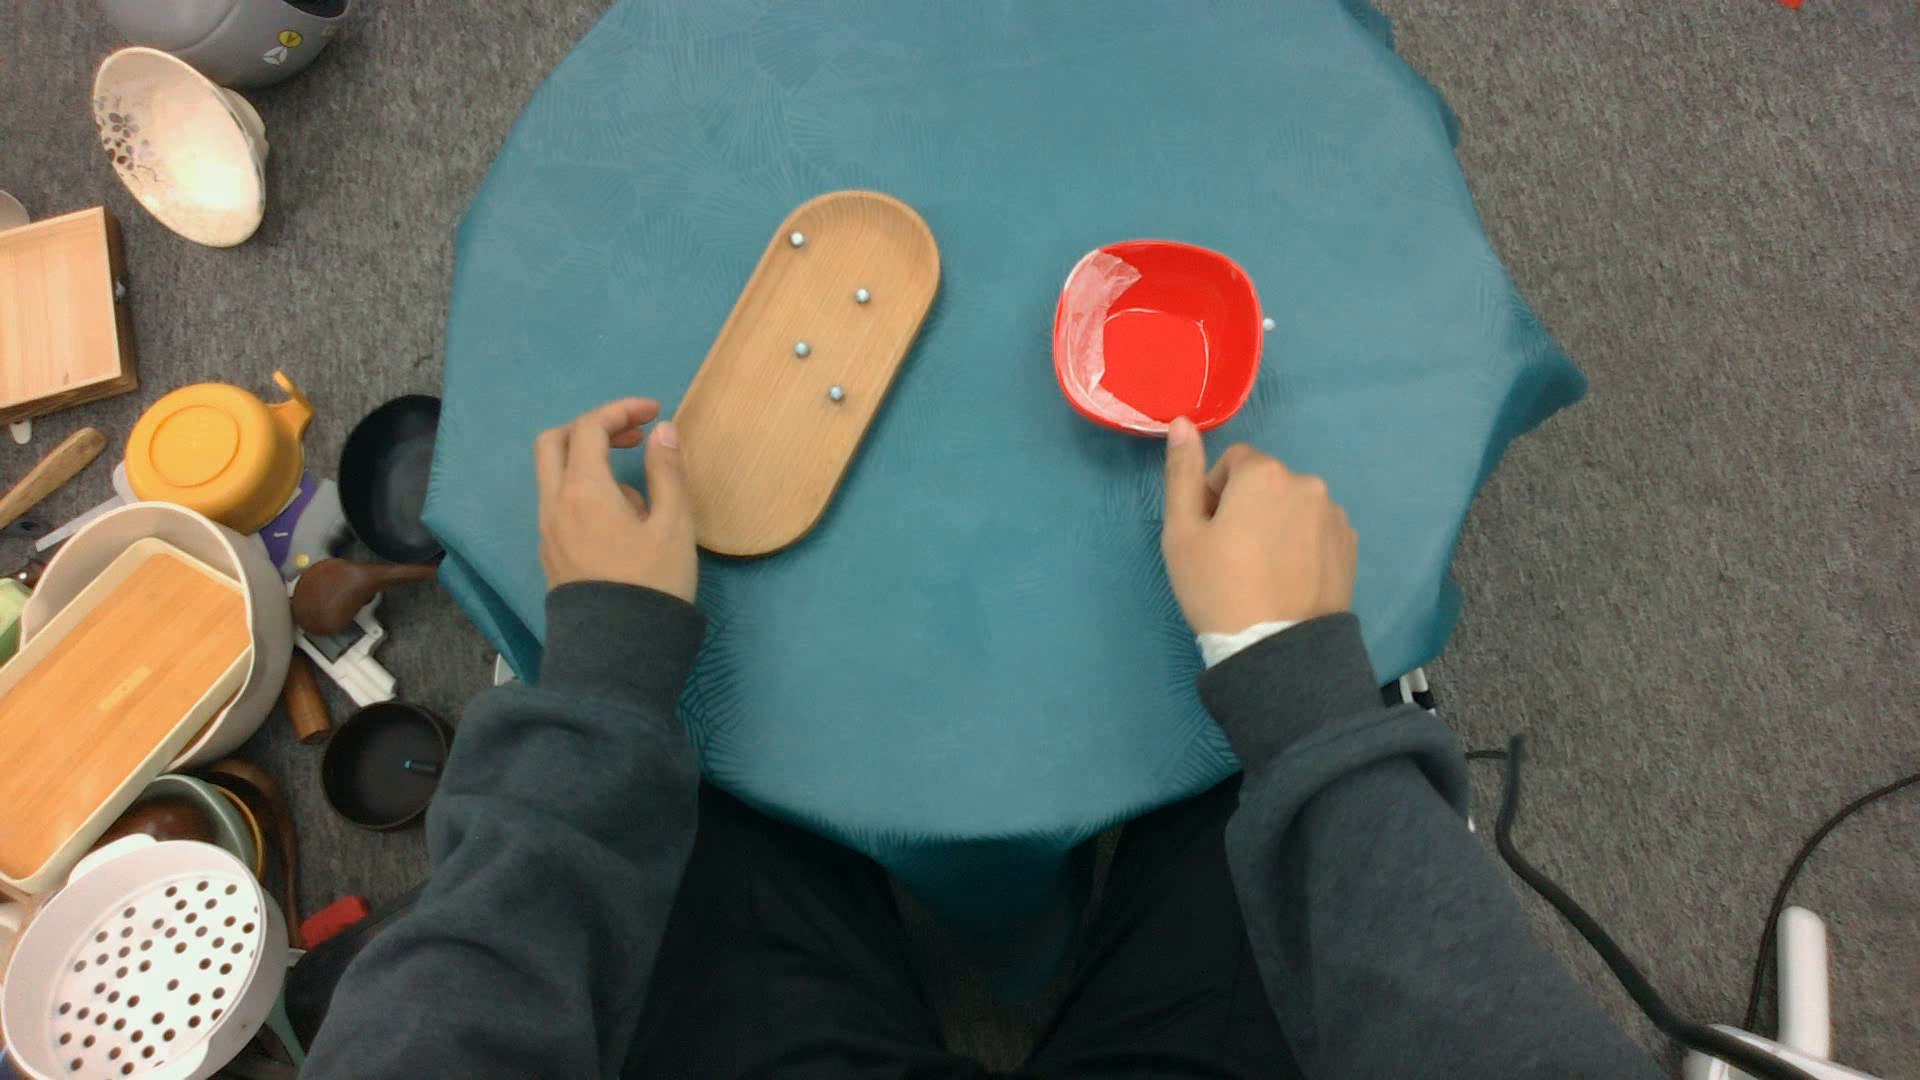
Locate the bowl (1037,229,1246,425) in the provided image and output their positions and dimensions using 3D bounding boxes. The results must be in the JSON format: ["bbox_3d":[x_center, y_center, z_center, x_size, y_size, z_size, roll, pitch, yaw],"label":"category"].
[{"bbox_3d":[0.096,-0.108,0.749,0.119,0.051,0.119,0,73,1],"label":"bowl"}]

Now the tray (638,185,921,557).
[{"bbox_3d":[-0.099,-0.097,0.771,0.101,0.020,0.231,22,77,9],"label":"tray"}]
